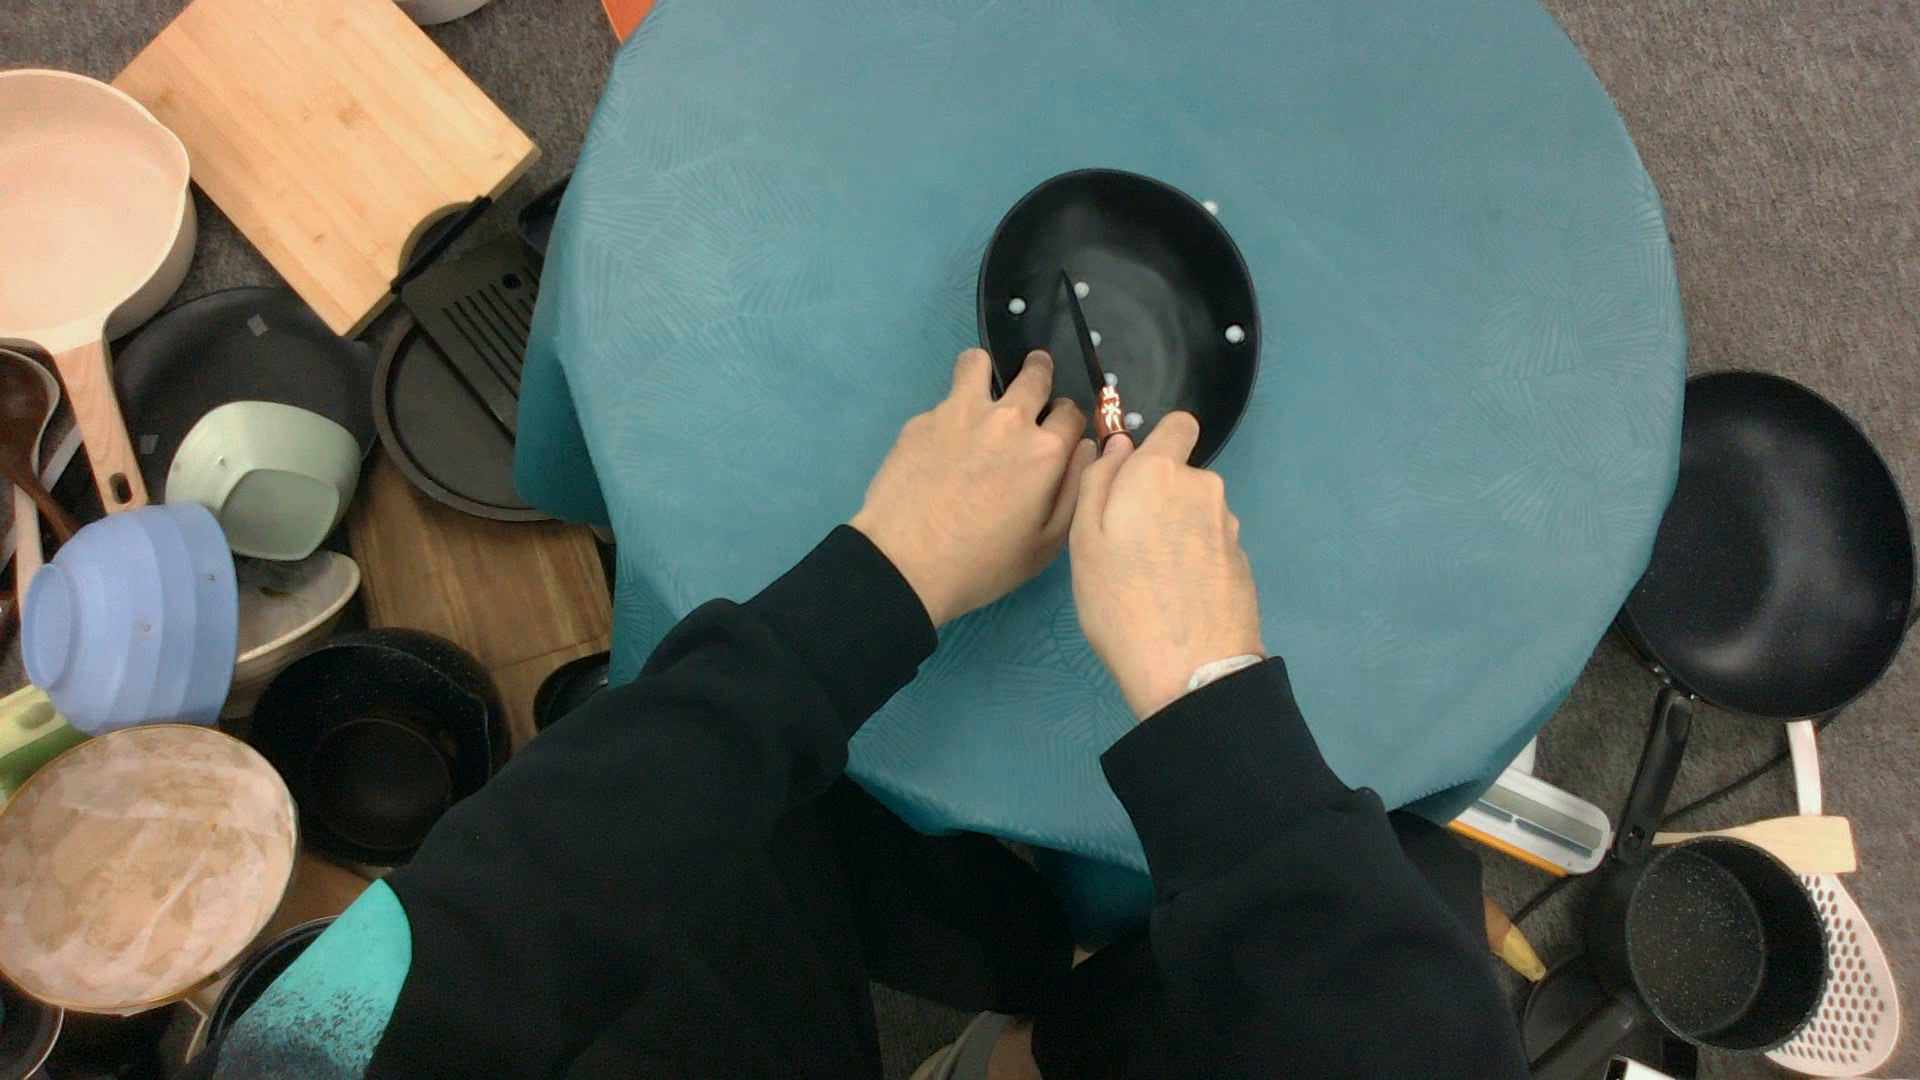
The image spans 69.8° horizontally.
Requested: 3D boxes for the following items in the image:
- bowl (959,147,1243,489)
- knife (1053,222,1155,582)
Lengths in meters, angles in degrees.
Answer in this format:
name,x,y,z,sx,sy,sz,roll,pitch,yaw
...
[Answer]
name,x,y,z,sx,sy,sz,roll,pitch,yaw
bowl,0.066,-0.105,0.682,0.137,0.066,0.170,-6,79,-8
knife,0.060,-0.072,0.626,0.017,0.026,0.226,-1,48,-9
